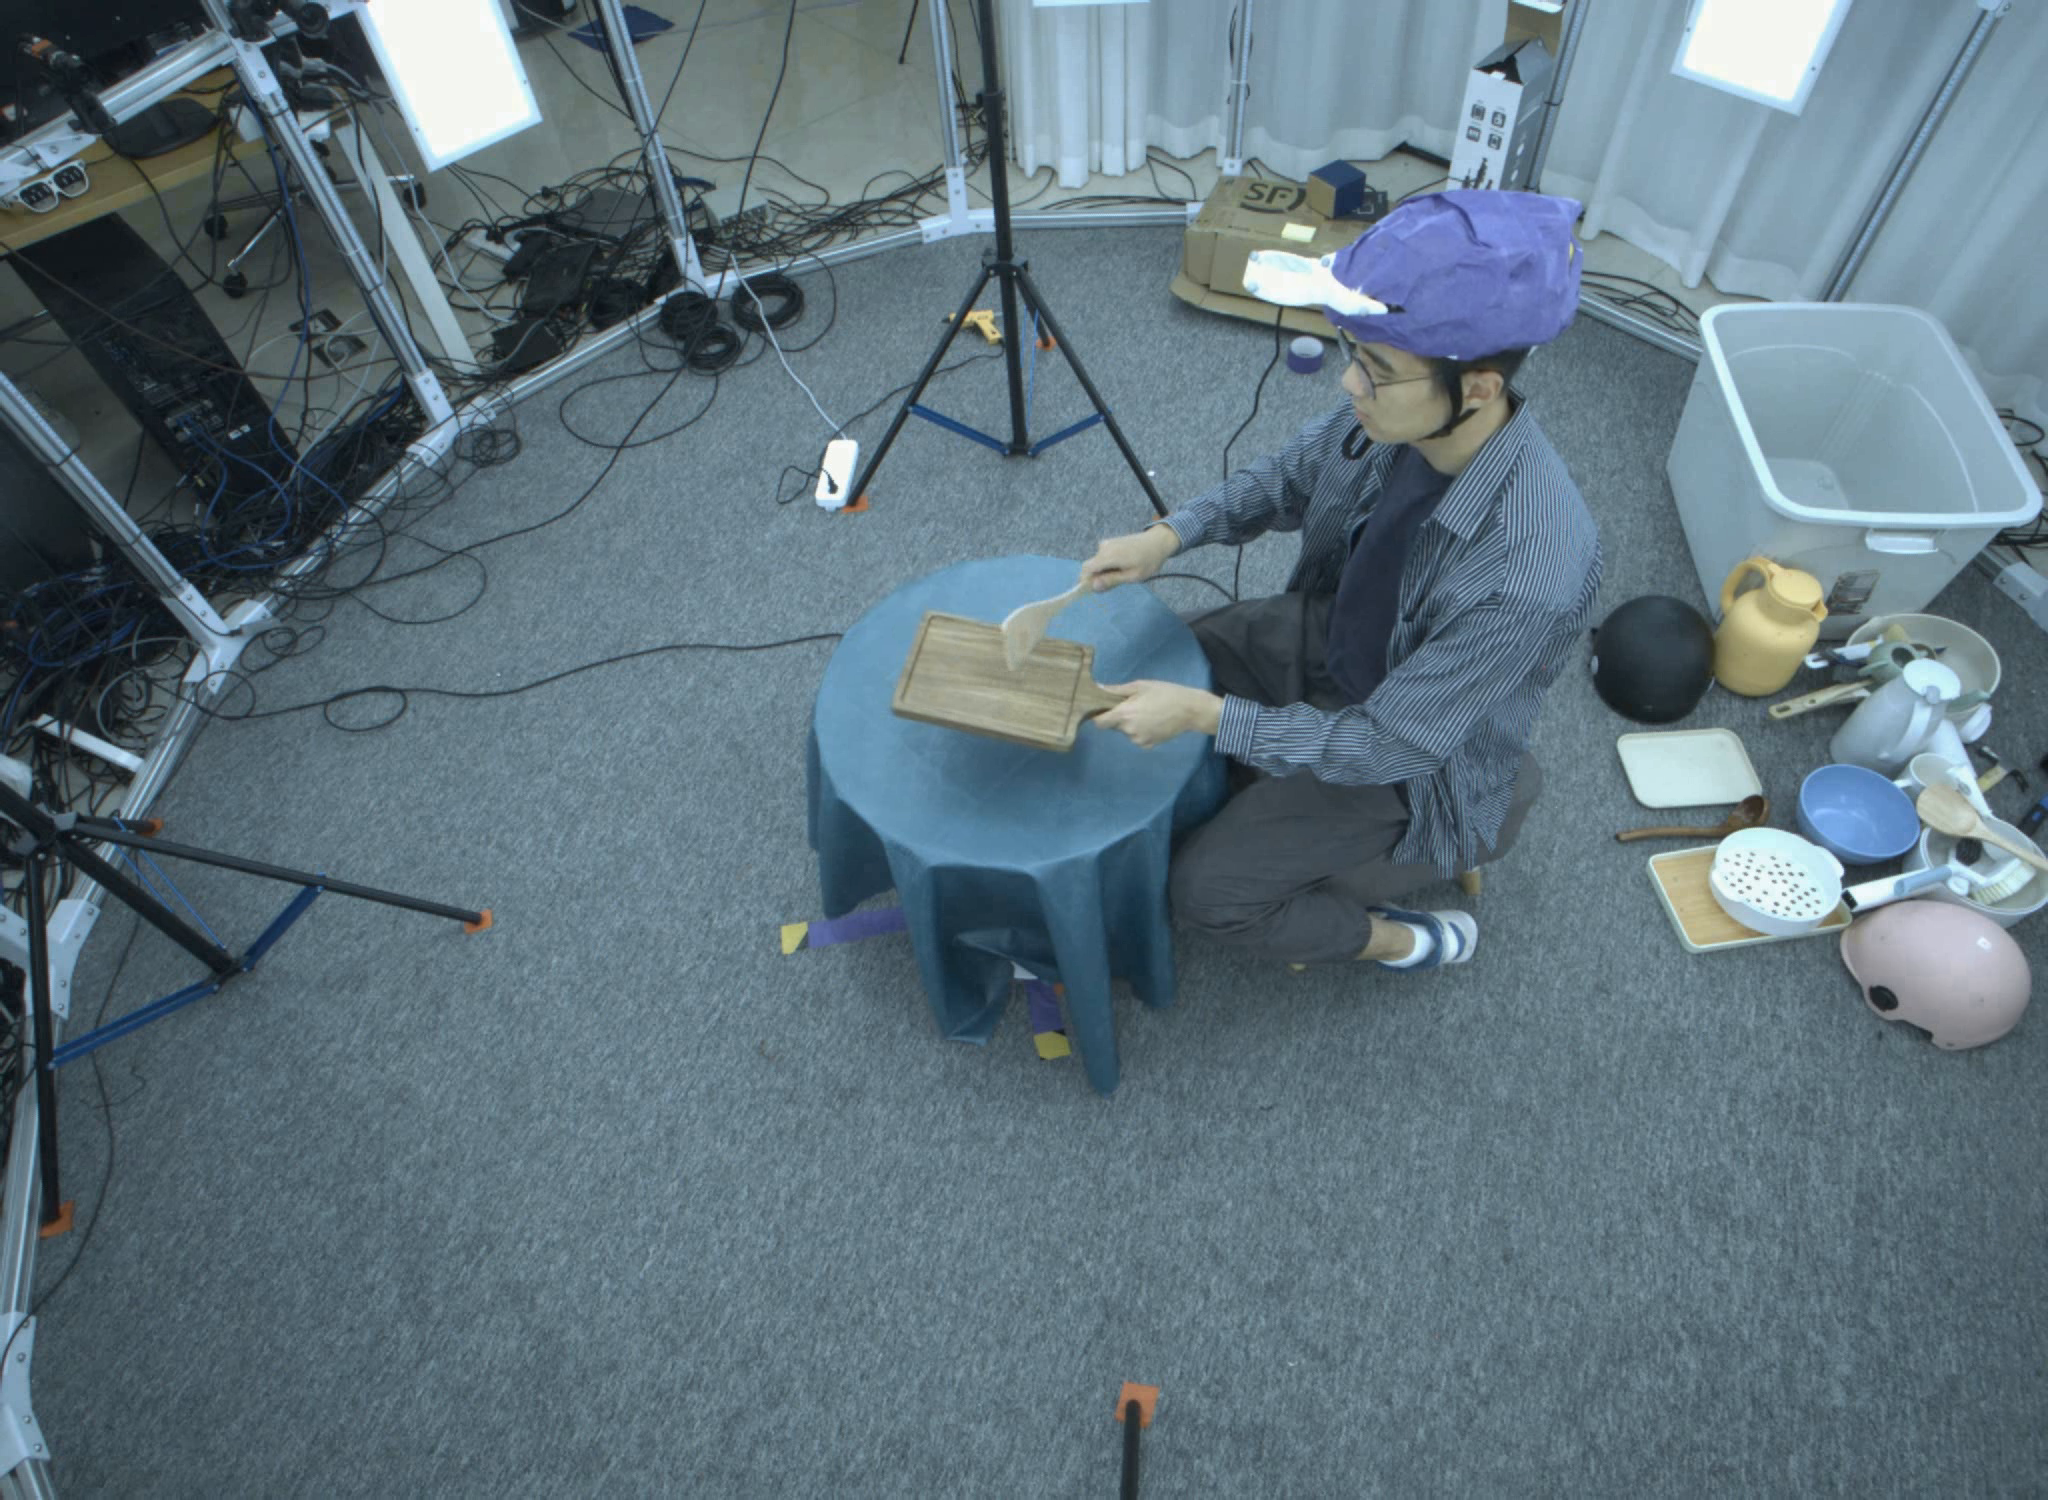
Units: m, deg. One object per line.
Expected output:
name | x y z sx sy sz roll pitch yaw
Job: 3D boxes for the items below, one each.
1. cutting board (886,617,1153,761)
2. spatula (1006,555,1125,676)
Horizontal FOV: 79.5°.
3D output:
cutting board | 0.004 -0.076 1.684 0.352 0.023 0.200 14 50 0
spatula | 0.063 -0.204 1.737 0.016 0.081 0.330 19 40 28
